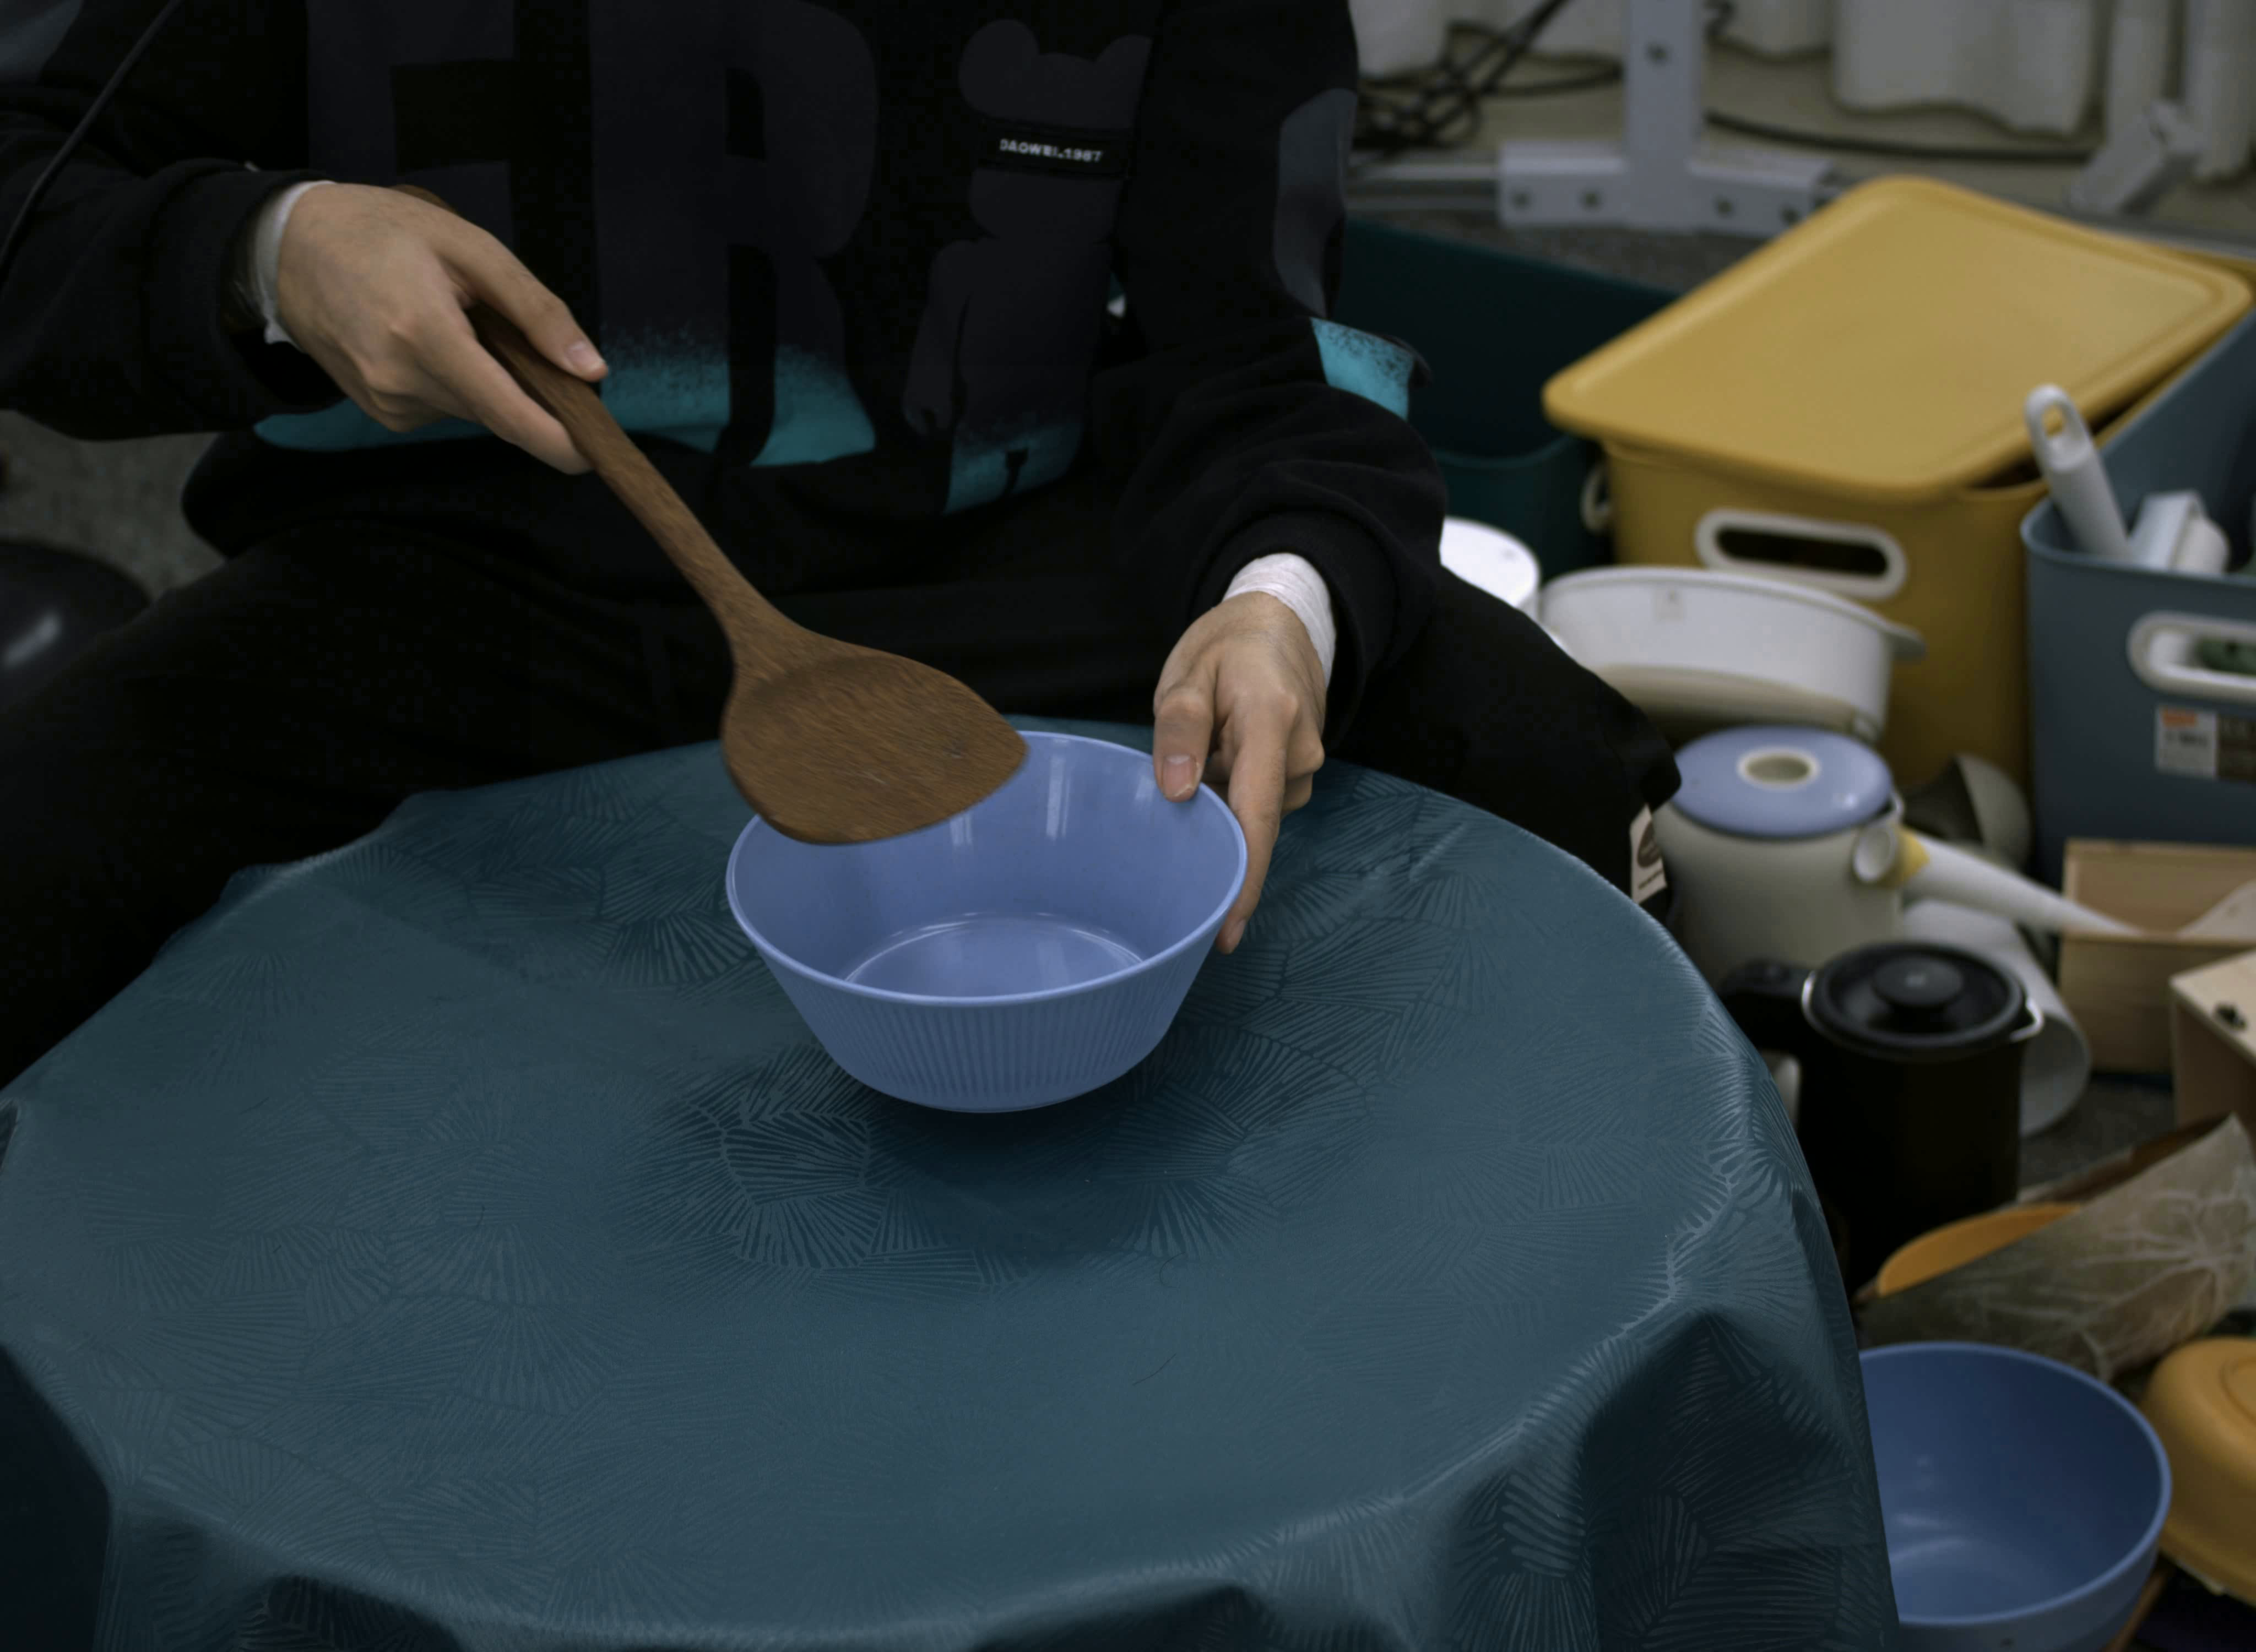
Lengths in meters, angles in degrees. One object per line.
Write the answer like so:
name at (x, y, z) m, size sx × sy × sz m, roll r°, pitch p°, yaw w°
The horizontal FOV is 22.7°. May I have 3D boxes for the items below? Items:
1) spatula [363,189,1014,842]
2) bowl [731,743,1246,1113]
spatula at (-0.172, -0.117, 1.962) m, size 0.097 × 0.015 × 0.389 m, roll -20°, pitch 49°, yaw -26°
bowl at (-0.046, 0.041, 1.910) m, size 0.175 × 0.069 × 0.179 m, roll -1°, pitch 29°, yaw 1°
